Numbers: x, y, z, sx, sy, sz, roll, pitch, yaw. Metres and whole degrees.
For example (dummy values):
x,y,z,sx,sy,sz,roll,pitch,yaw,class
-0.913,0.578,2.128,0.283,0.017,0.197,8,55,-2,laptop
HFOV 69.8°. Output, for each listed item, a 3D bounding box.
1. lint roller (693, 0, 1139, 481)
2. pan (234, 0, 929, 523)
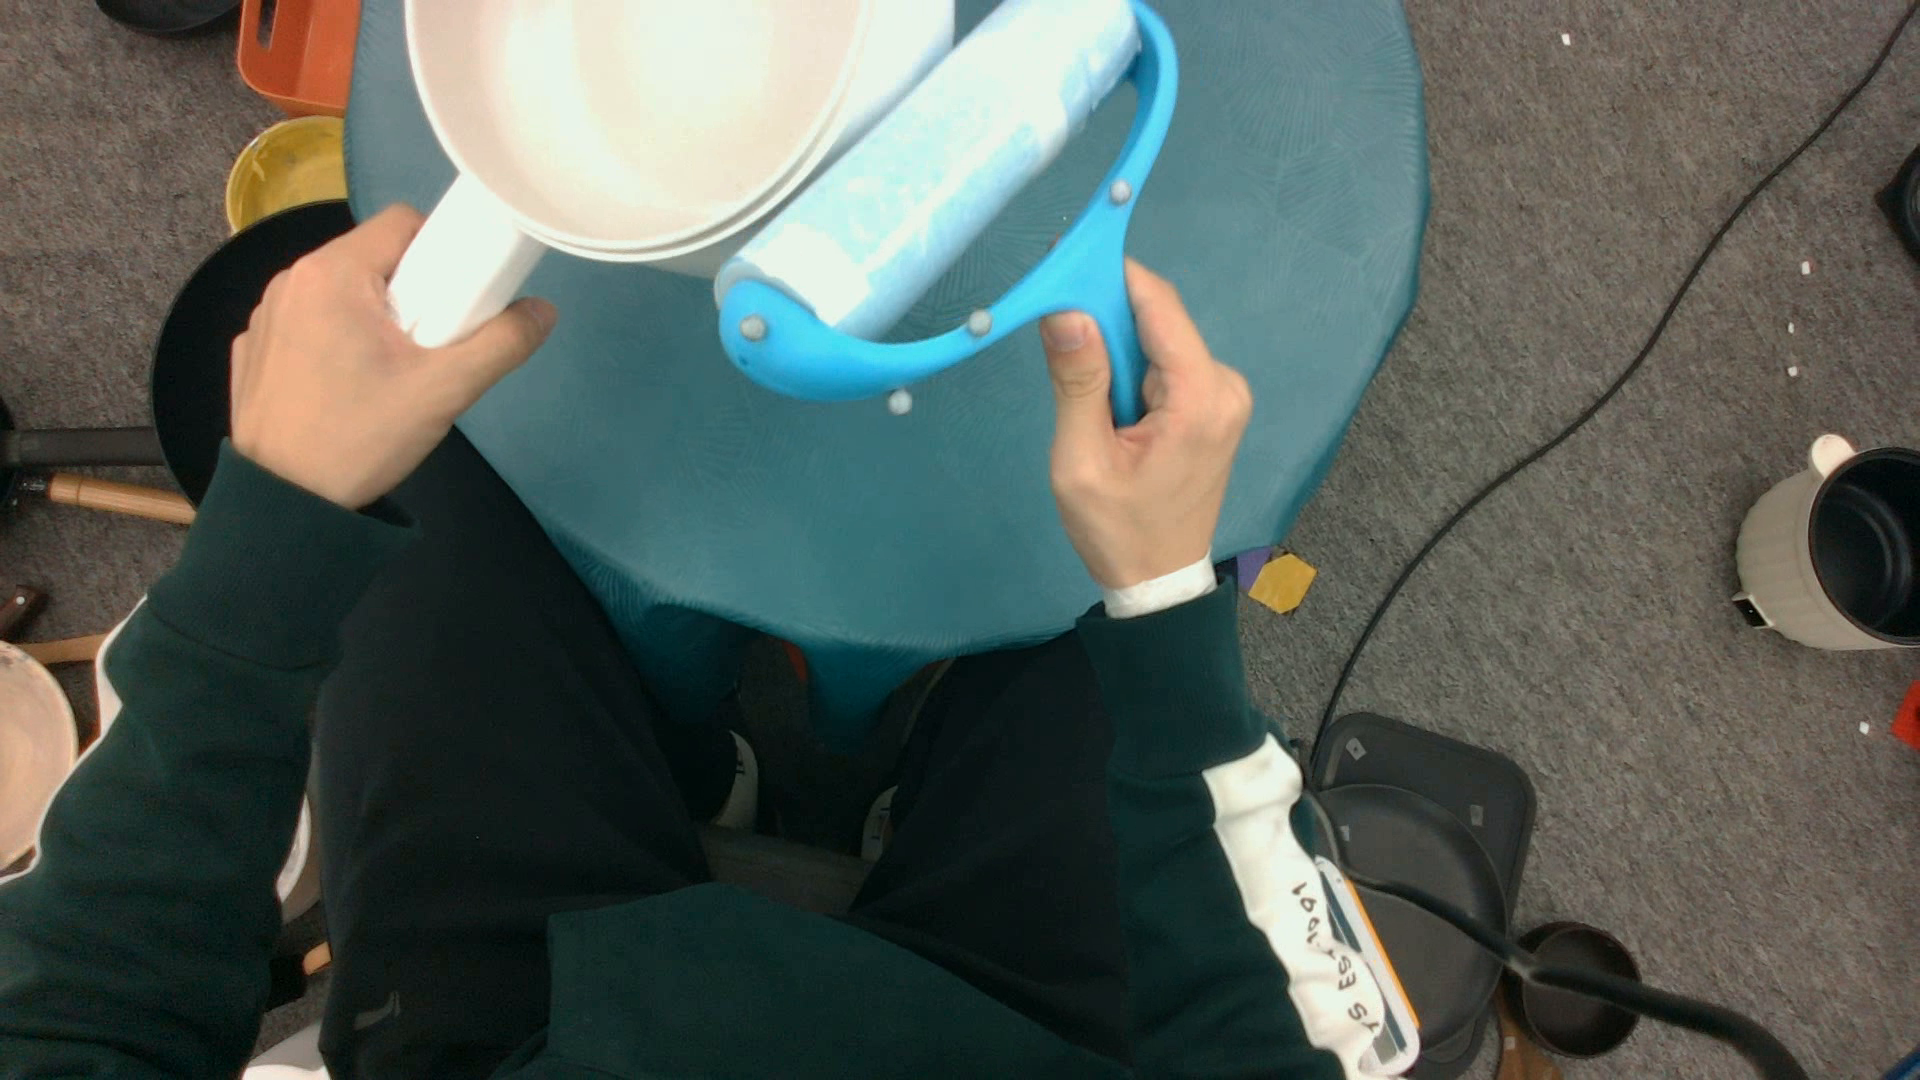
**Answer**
x,y,z,sx,sy,sz,roll,pitch,yaw,class
0.023,-0.097,0.523,0.180,0.067,0.230,46,58,-19,lint roller
-0.160,-0.149,0.561,0.201,0.102,0.354,43,105,11,pan
